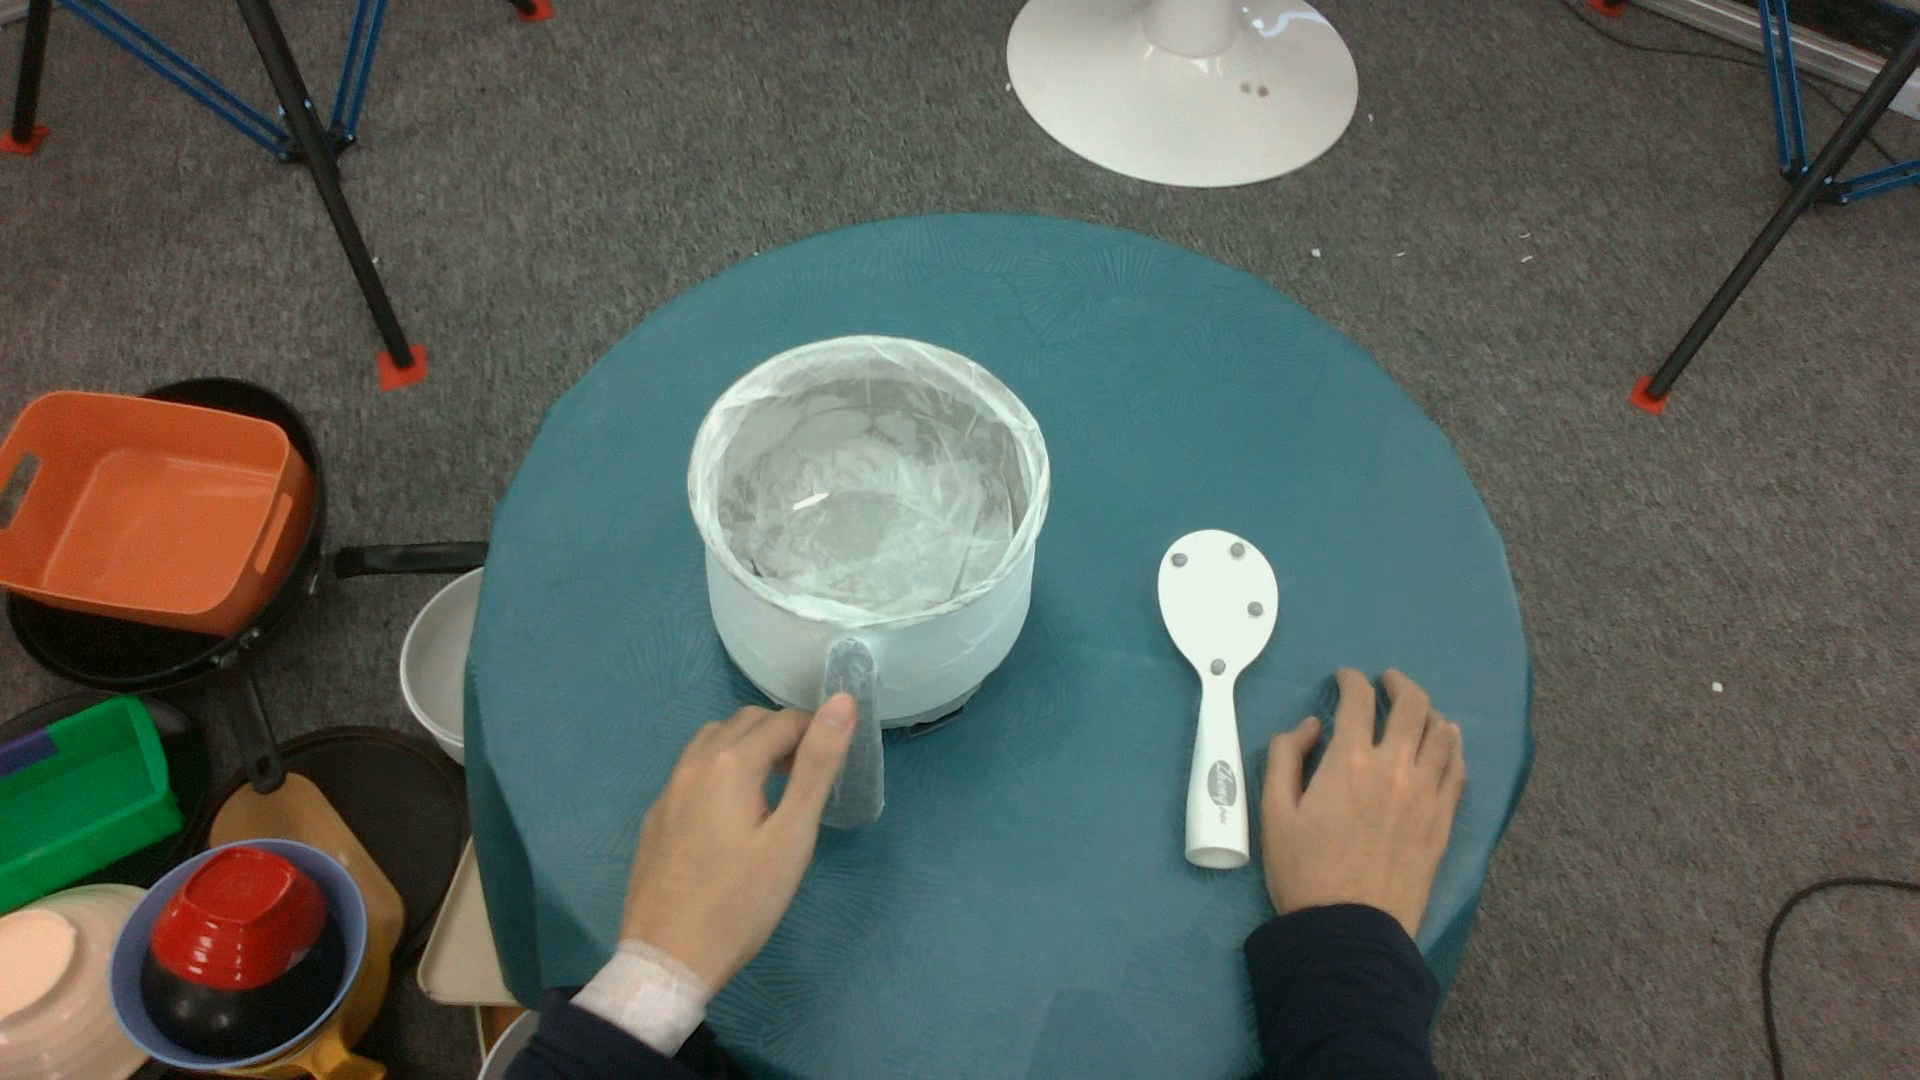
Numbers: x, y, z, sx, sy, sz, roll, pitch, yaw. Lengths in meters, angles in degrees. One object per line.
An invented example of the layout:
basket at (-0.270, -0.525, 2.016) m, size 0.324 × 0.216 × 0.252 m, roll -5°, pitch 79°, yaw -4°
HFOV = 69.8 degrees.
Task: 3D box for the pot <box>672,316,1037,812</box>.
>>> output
pot at (-0.054, 0.014, 0.709) m, size 0.179 × 0.136 × 0.235 m, roll 2°, pitch 56°, yaw -1°

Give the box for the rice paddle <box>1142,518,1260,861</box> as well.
rice paddle at (0.132, 0.072, 0.753) m, size 0.069 × 0.029 × 0.206 m, roll 7°, pitch 58°, yaw -2°
